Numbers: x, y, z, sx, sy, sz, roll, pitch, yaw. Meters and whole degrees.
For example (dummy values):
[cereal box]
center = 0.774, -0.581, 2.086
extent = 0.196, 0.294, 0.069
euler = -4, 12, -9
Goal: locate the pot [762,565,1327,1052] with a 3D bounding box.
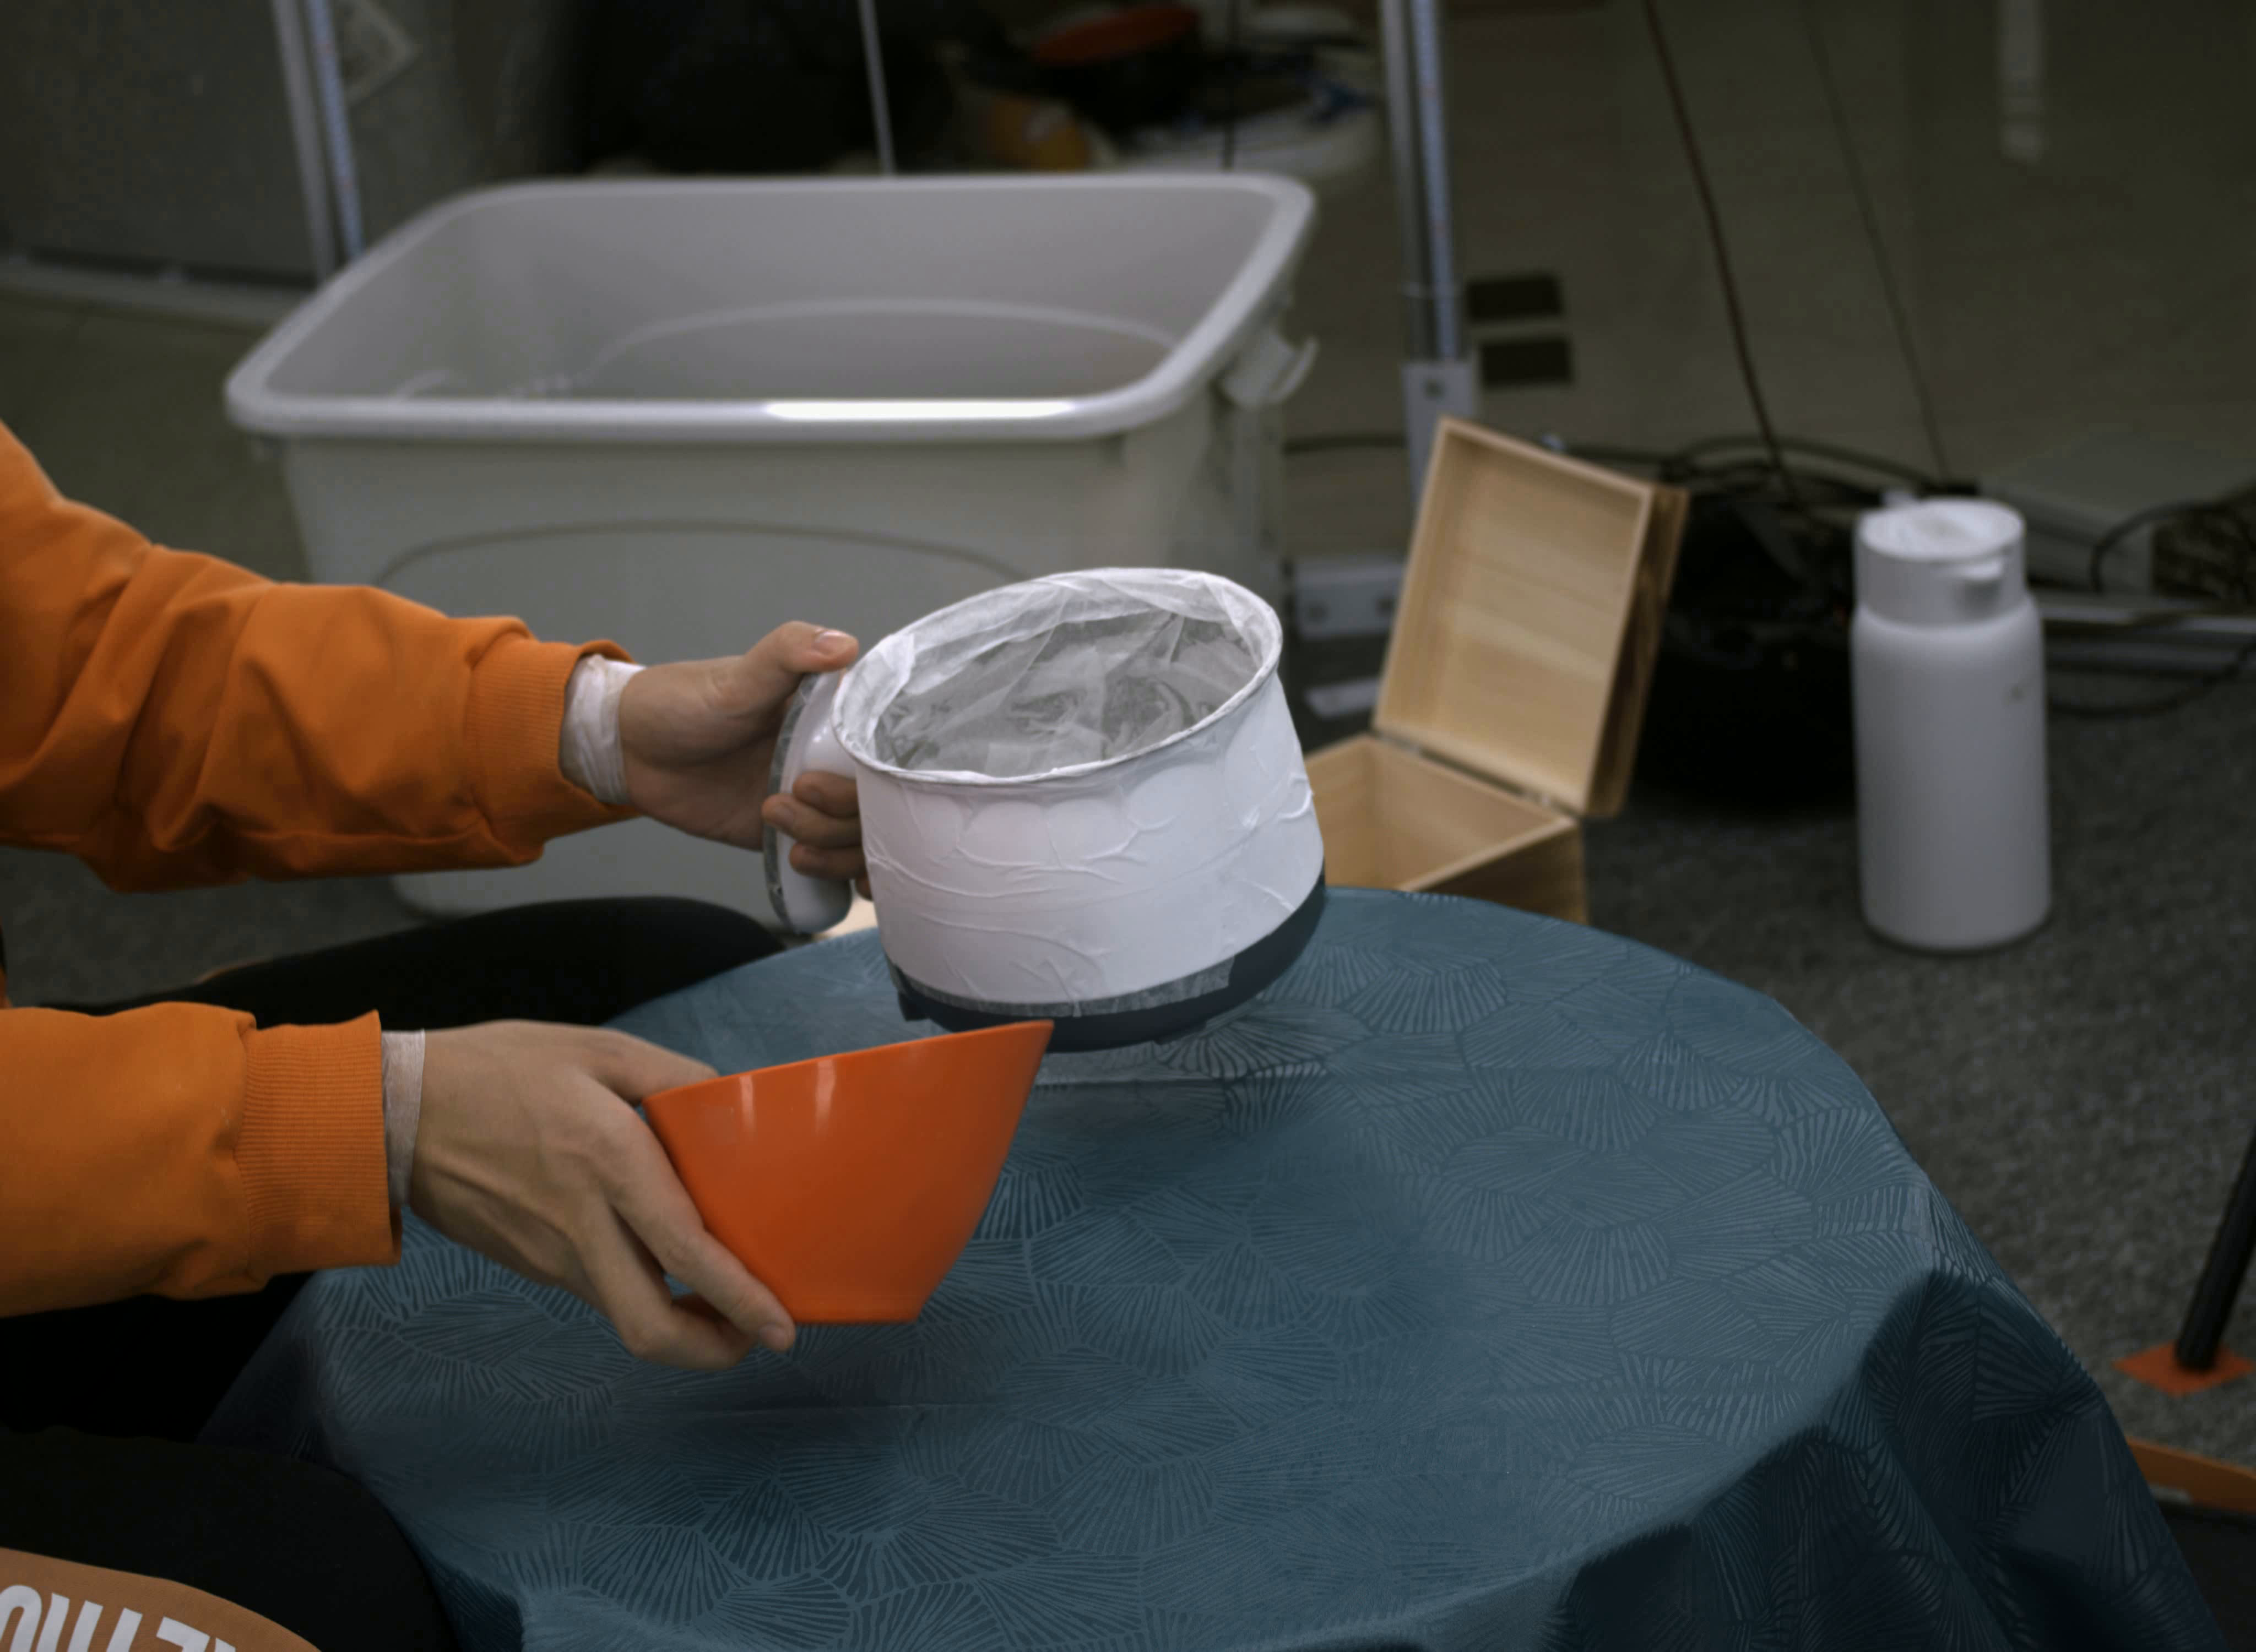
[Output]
[pot]
center = -0.041, -0.005, 2.203
extent = 0.233, 0.139, 0.176
euler = 1, 30, 24

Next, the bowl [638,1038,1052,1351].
[bowl]
center = -0.098, 0.131, 2.000
extent = 0.148, 0.104, 0.148
euler = -2, -8, 0
